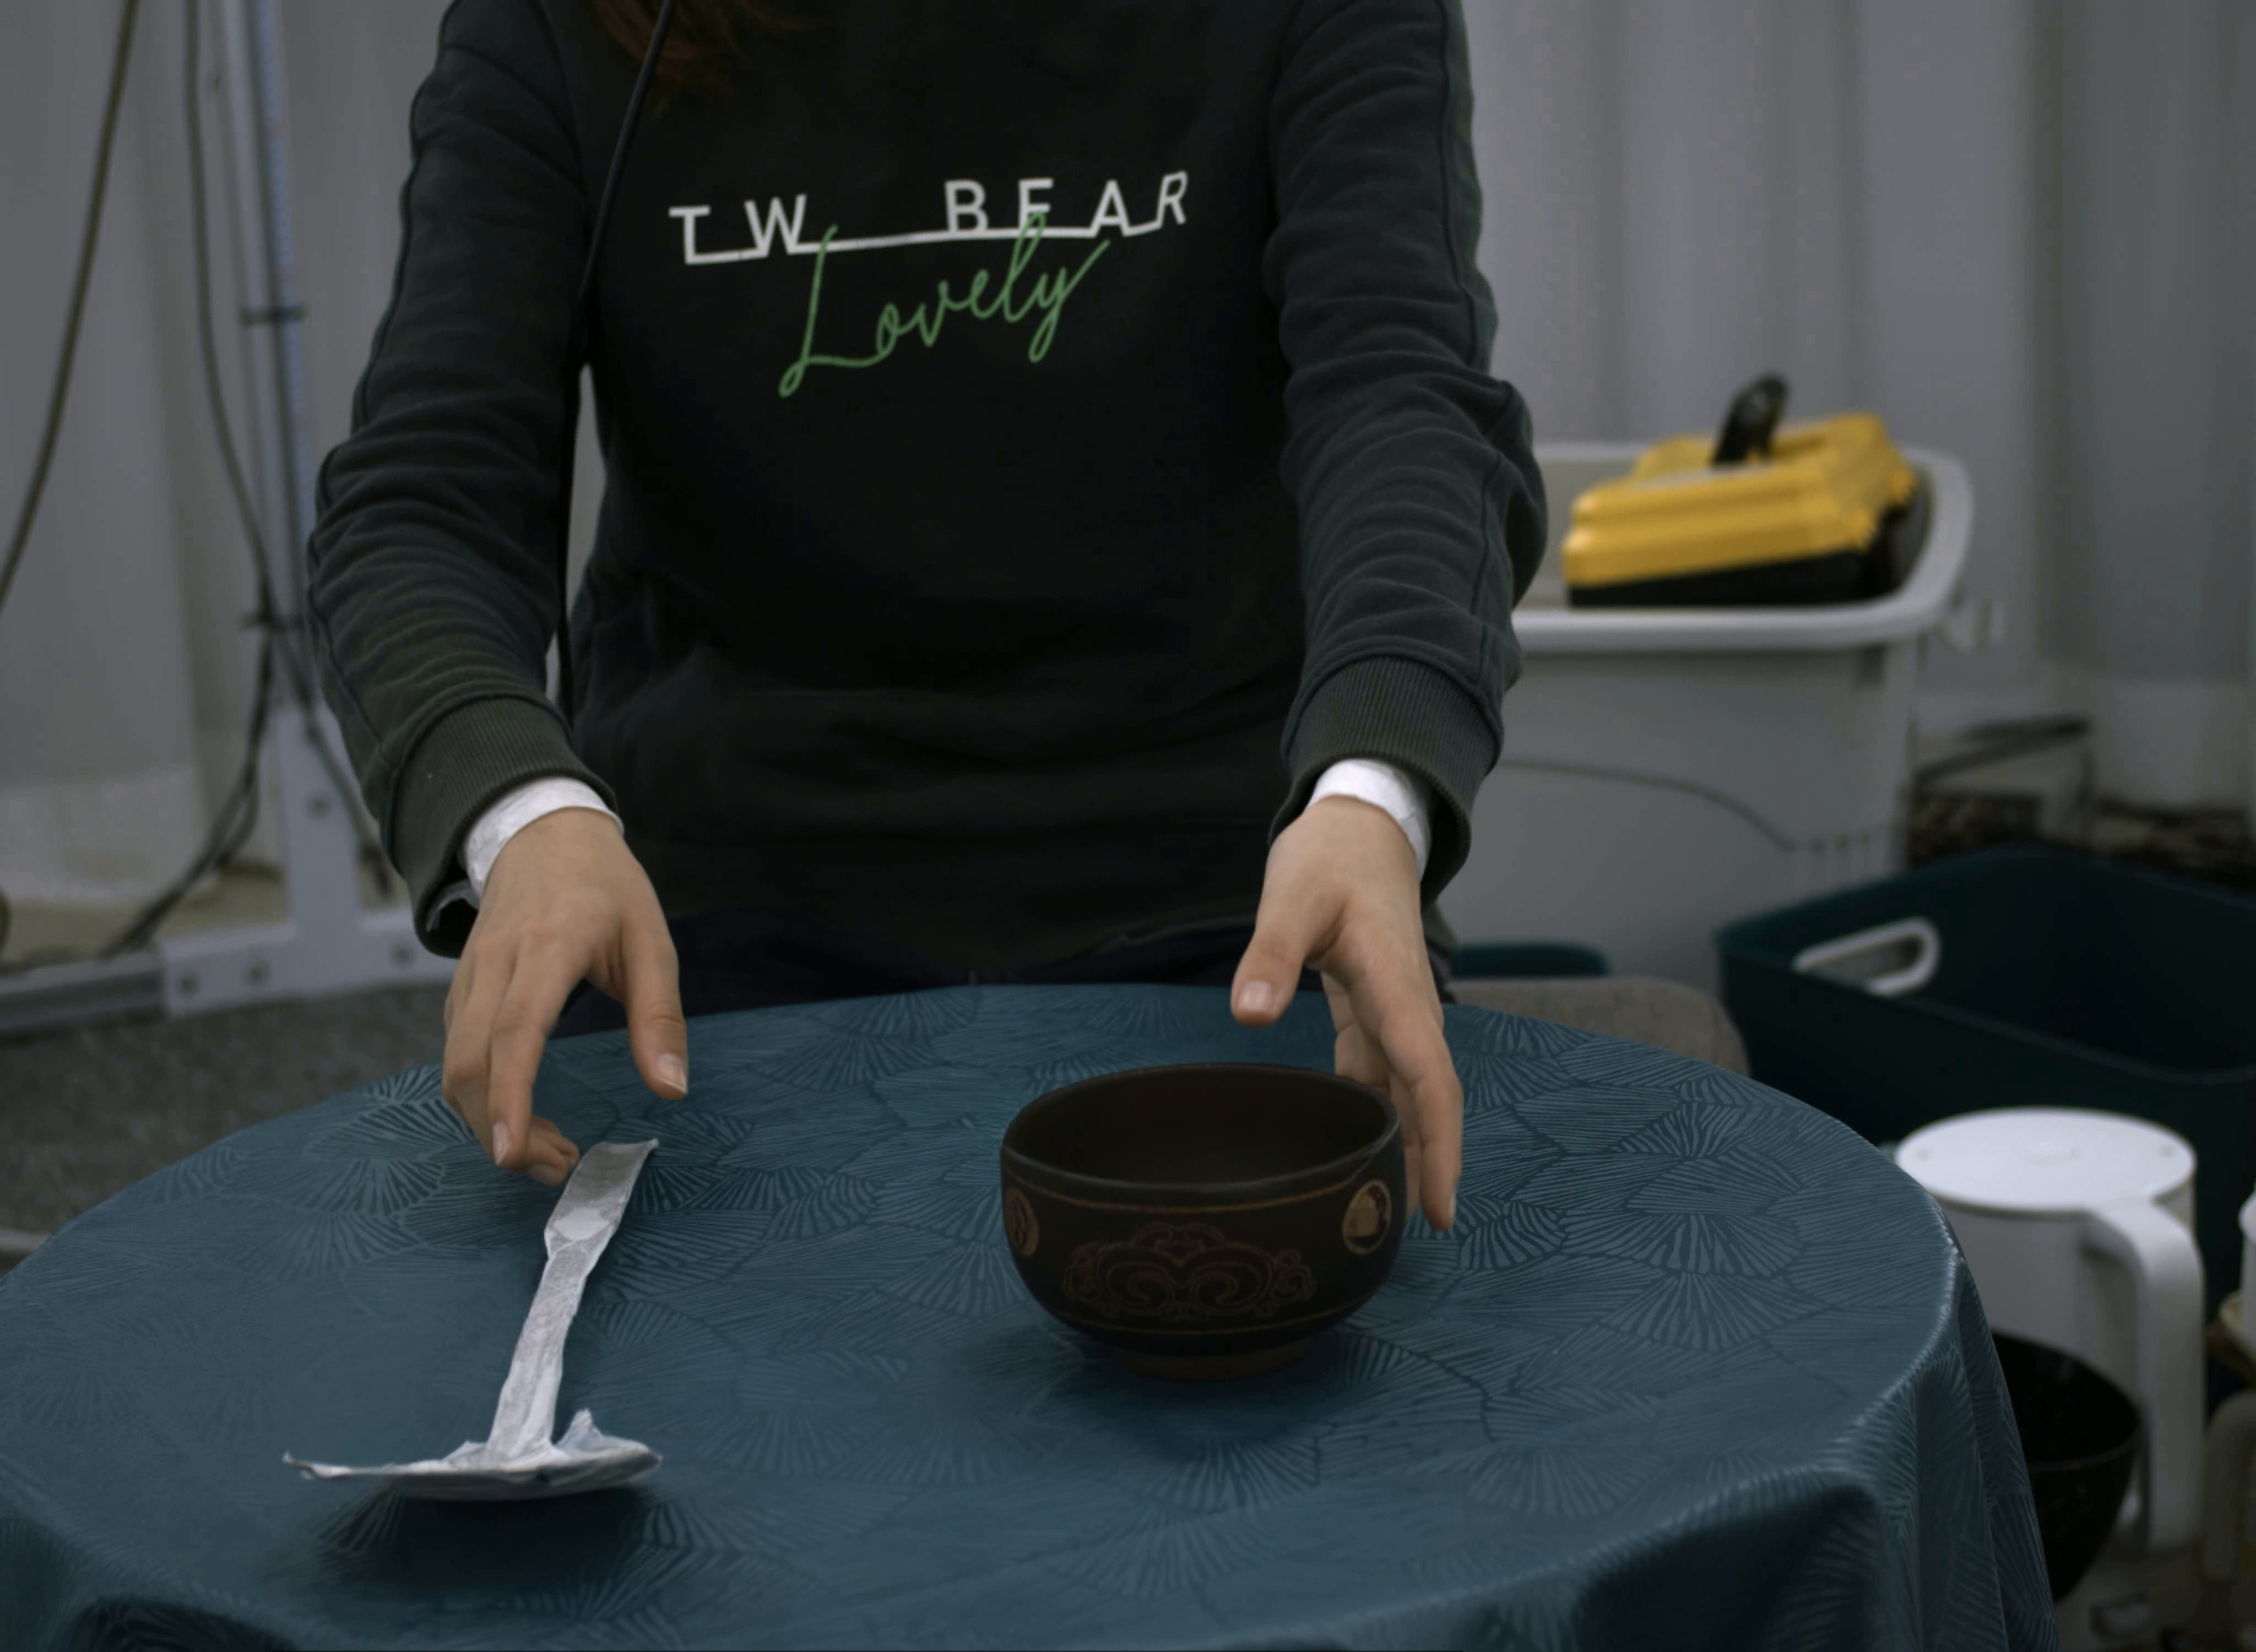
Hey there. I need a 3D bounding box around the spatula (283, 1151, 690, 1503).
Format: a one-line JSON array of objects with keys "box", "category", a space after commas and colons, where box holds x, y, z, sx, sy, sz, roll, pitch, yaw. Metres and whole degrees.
[{"box": [-0.164, 0.137, 1.589, 0.098, 0.044, 0.367, -4, 15, 4], "category": "spatula"}]

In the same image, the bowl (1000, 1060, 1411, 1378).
[{"box": [0.023, 0.116, 1.567, 0.117, 0.069, 0.119, -1, 14, 0], "category": "bowl"}]
